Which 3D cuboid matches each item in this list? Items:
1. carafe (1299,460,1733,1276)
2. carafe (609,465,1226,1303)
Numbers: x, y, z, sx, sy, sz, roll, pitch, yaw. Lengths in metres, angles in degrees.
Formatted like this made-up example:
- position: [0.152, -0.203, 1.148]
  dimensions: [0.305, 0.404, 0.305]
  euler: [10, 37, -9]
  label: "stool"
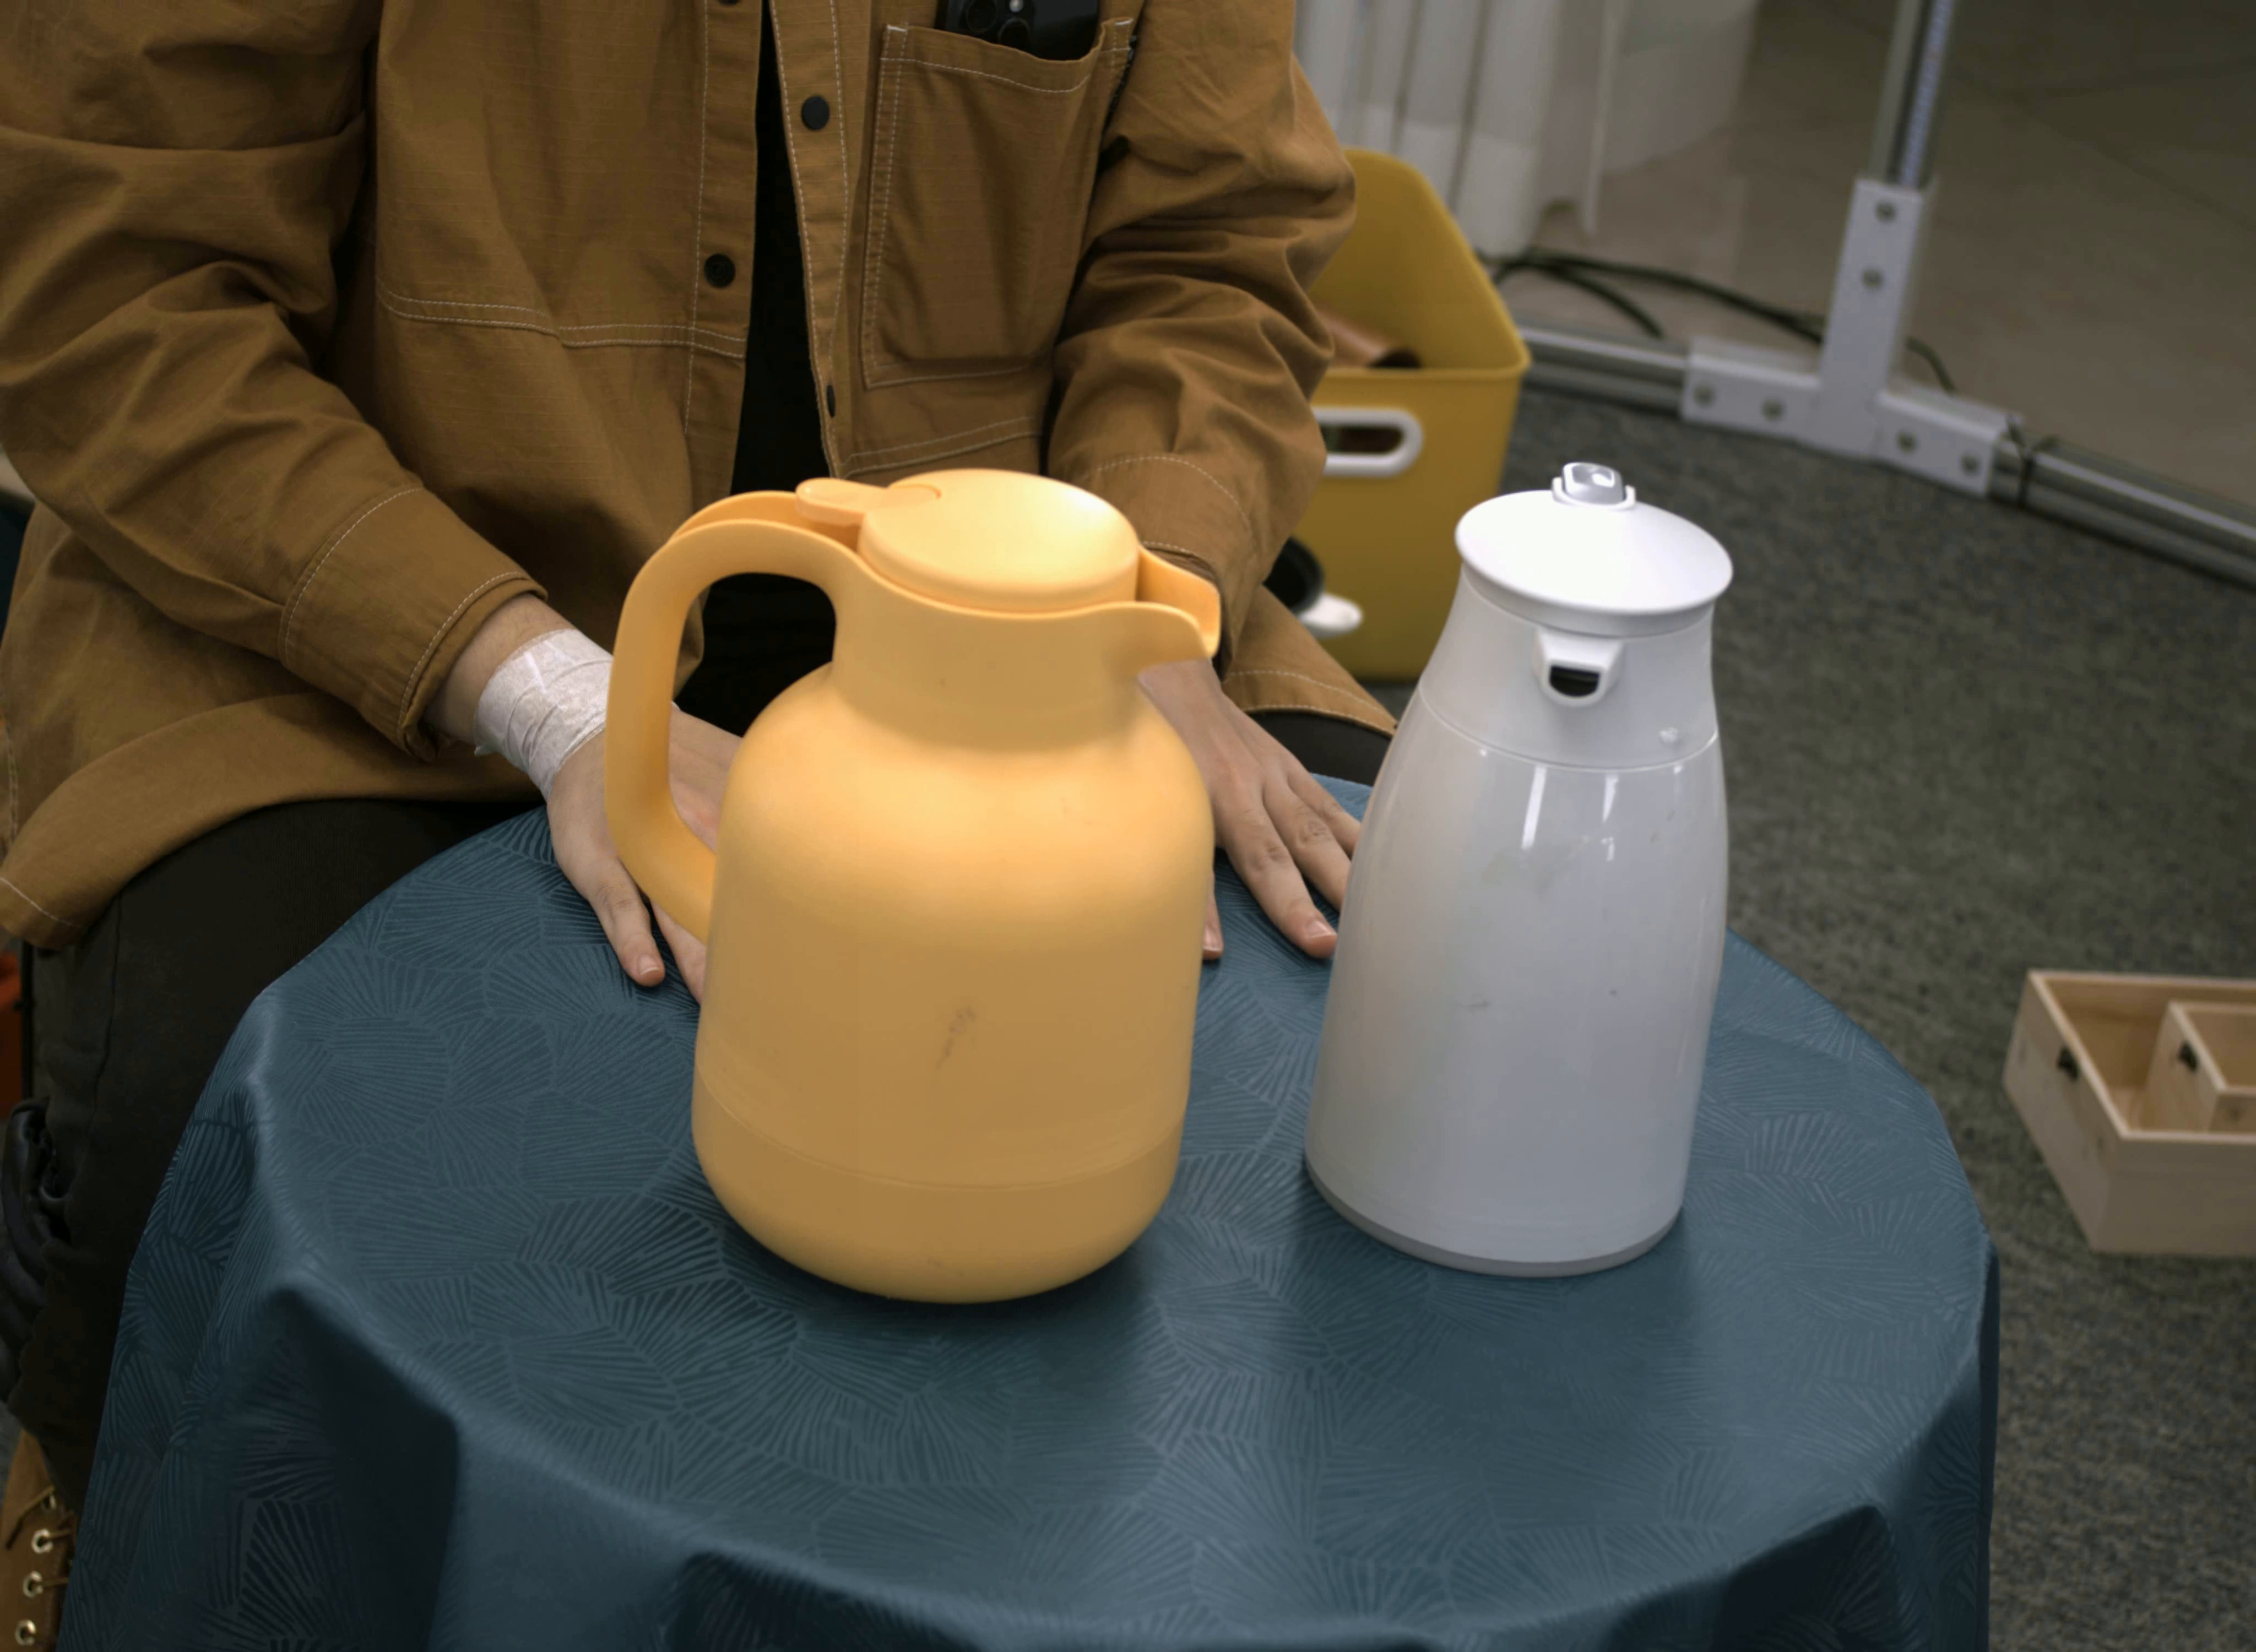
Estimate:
- position: [0.139, 0.003, 1.800]
  dimensions: [0.132, 0.248, 0.168]
  euler: [9, 26, 3]
  label: "carafe"
- position: [-0.072, 0.009, 1.728]
  dimensions: [0.202, 0.260, 0.163]
  euler: [15, 25, 13]
  label: "carafe"
